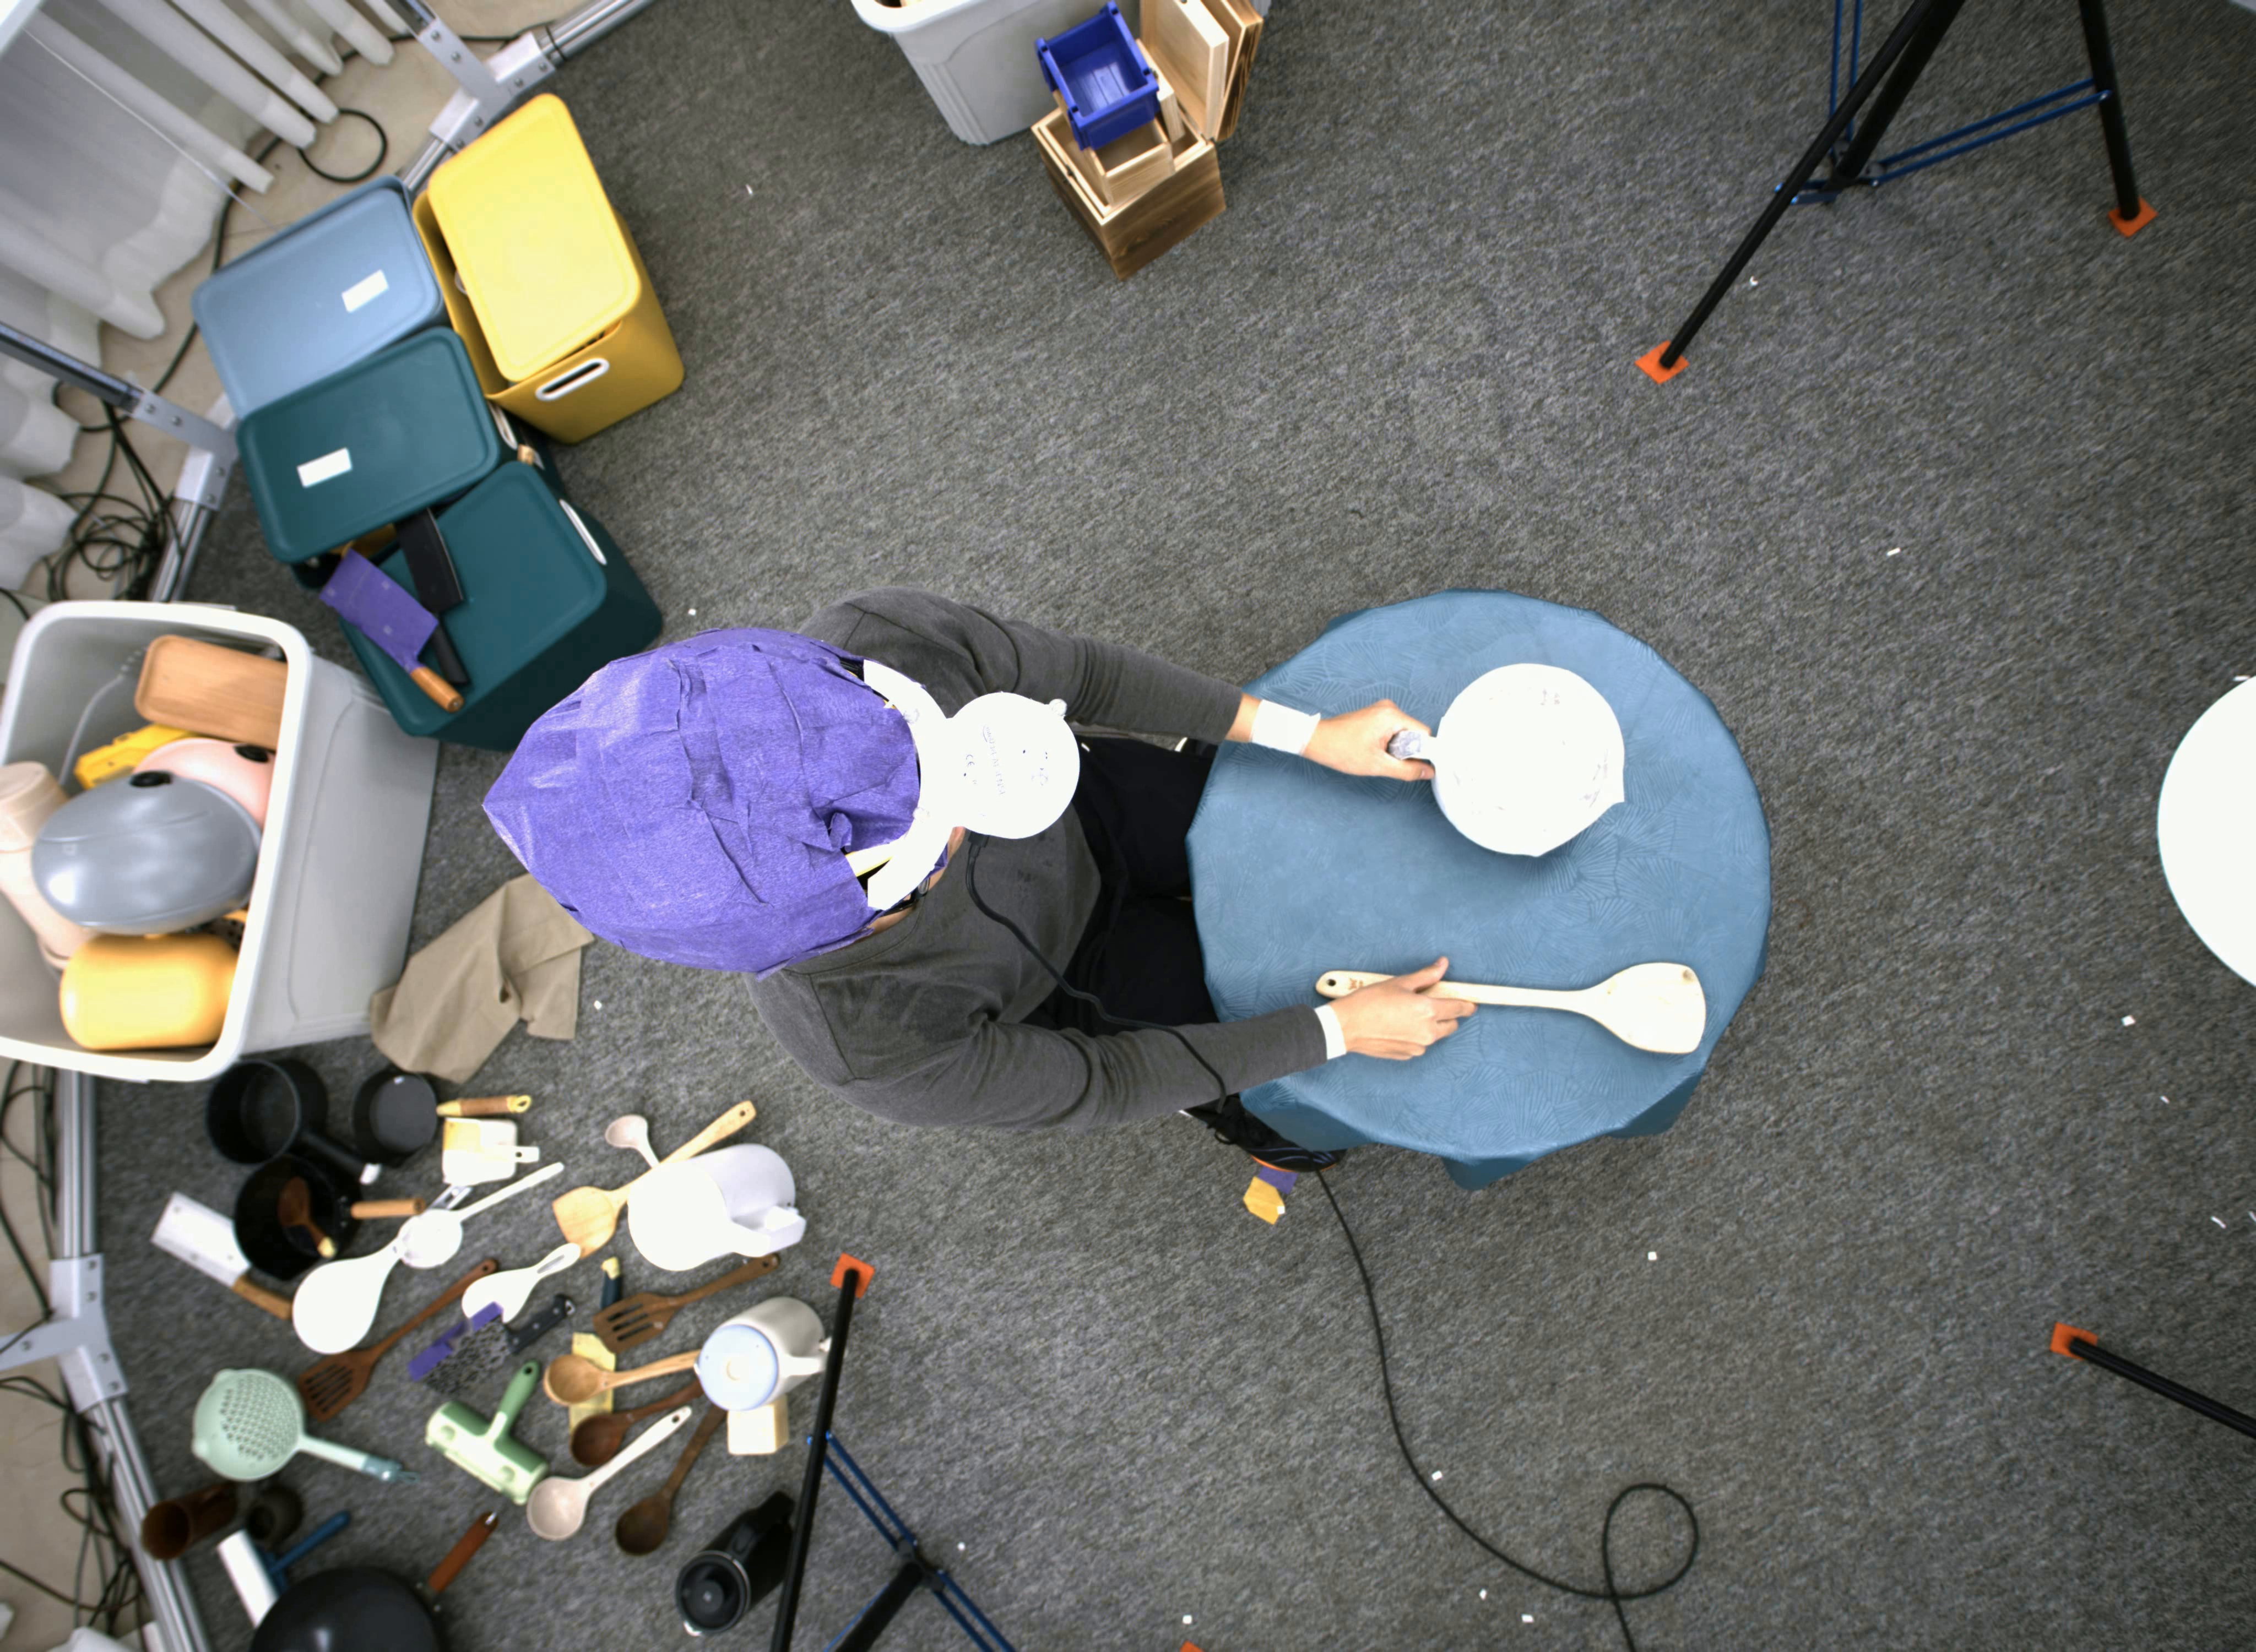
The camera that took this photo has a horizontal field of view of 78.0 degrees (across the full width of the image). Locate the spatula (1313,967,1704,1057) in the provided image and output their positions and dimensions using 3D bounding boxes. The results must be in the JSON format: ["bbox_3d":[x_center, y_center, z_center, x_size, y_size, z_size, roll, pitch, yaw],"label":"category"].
[{"bbox_3d":[0.385,0.176,1.413,0.392,0.019,0.093,3,63,12],"label":"spatula"}]

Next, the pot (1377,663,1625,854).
[{"bbox_3d":[0.368,-0.068,1.379,0.234,0.137,0.178,7,87,11],"label":"pot"}]
